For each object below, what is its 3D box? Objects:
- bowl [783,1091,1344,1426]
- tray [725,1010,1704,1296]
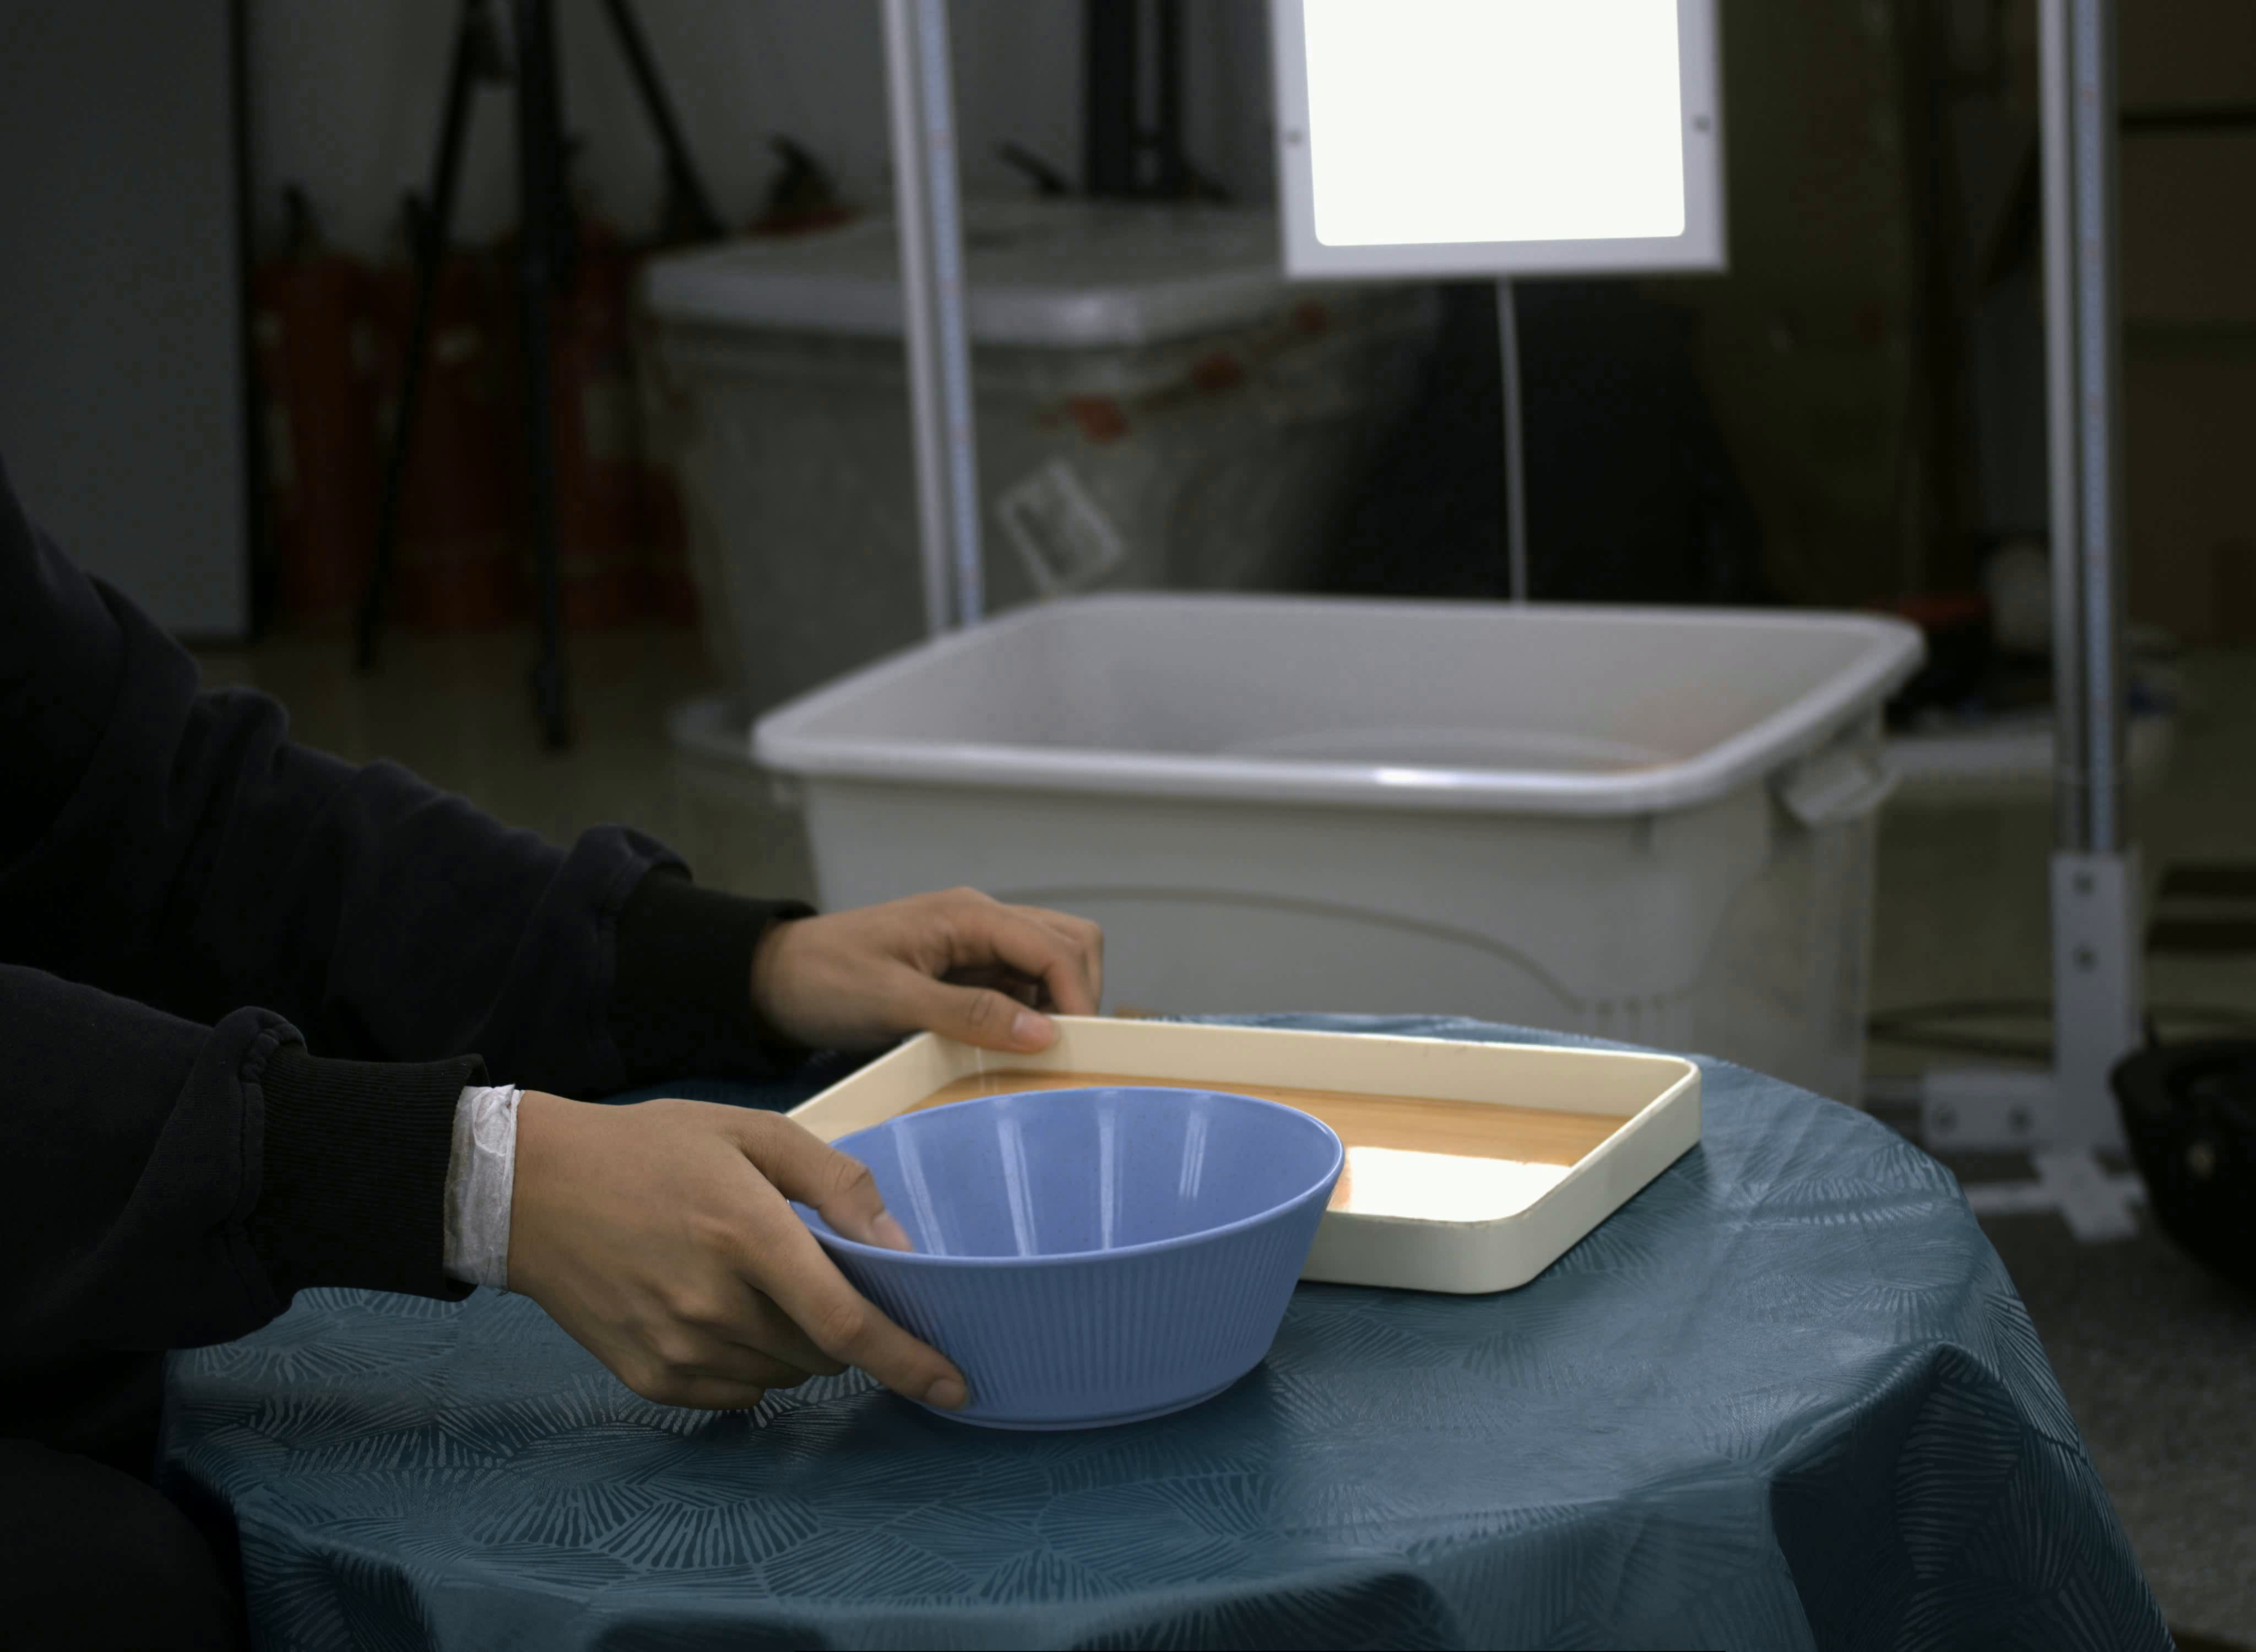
[{"bbox_3d":[-0.018,0.137,1.712,0.175,0.070,0.176,-5,12,0],"label":"bowl"},{"bbox_3d":[0.031,0.110,1.898,0.305,0.027,0.187,3,16,28],"label":"tray"}]
